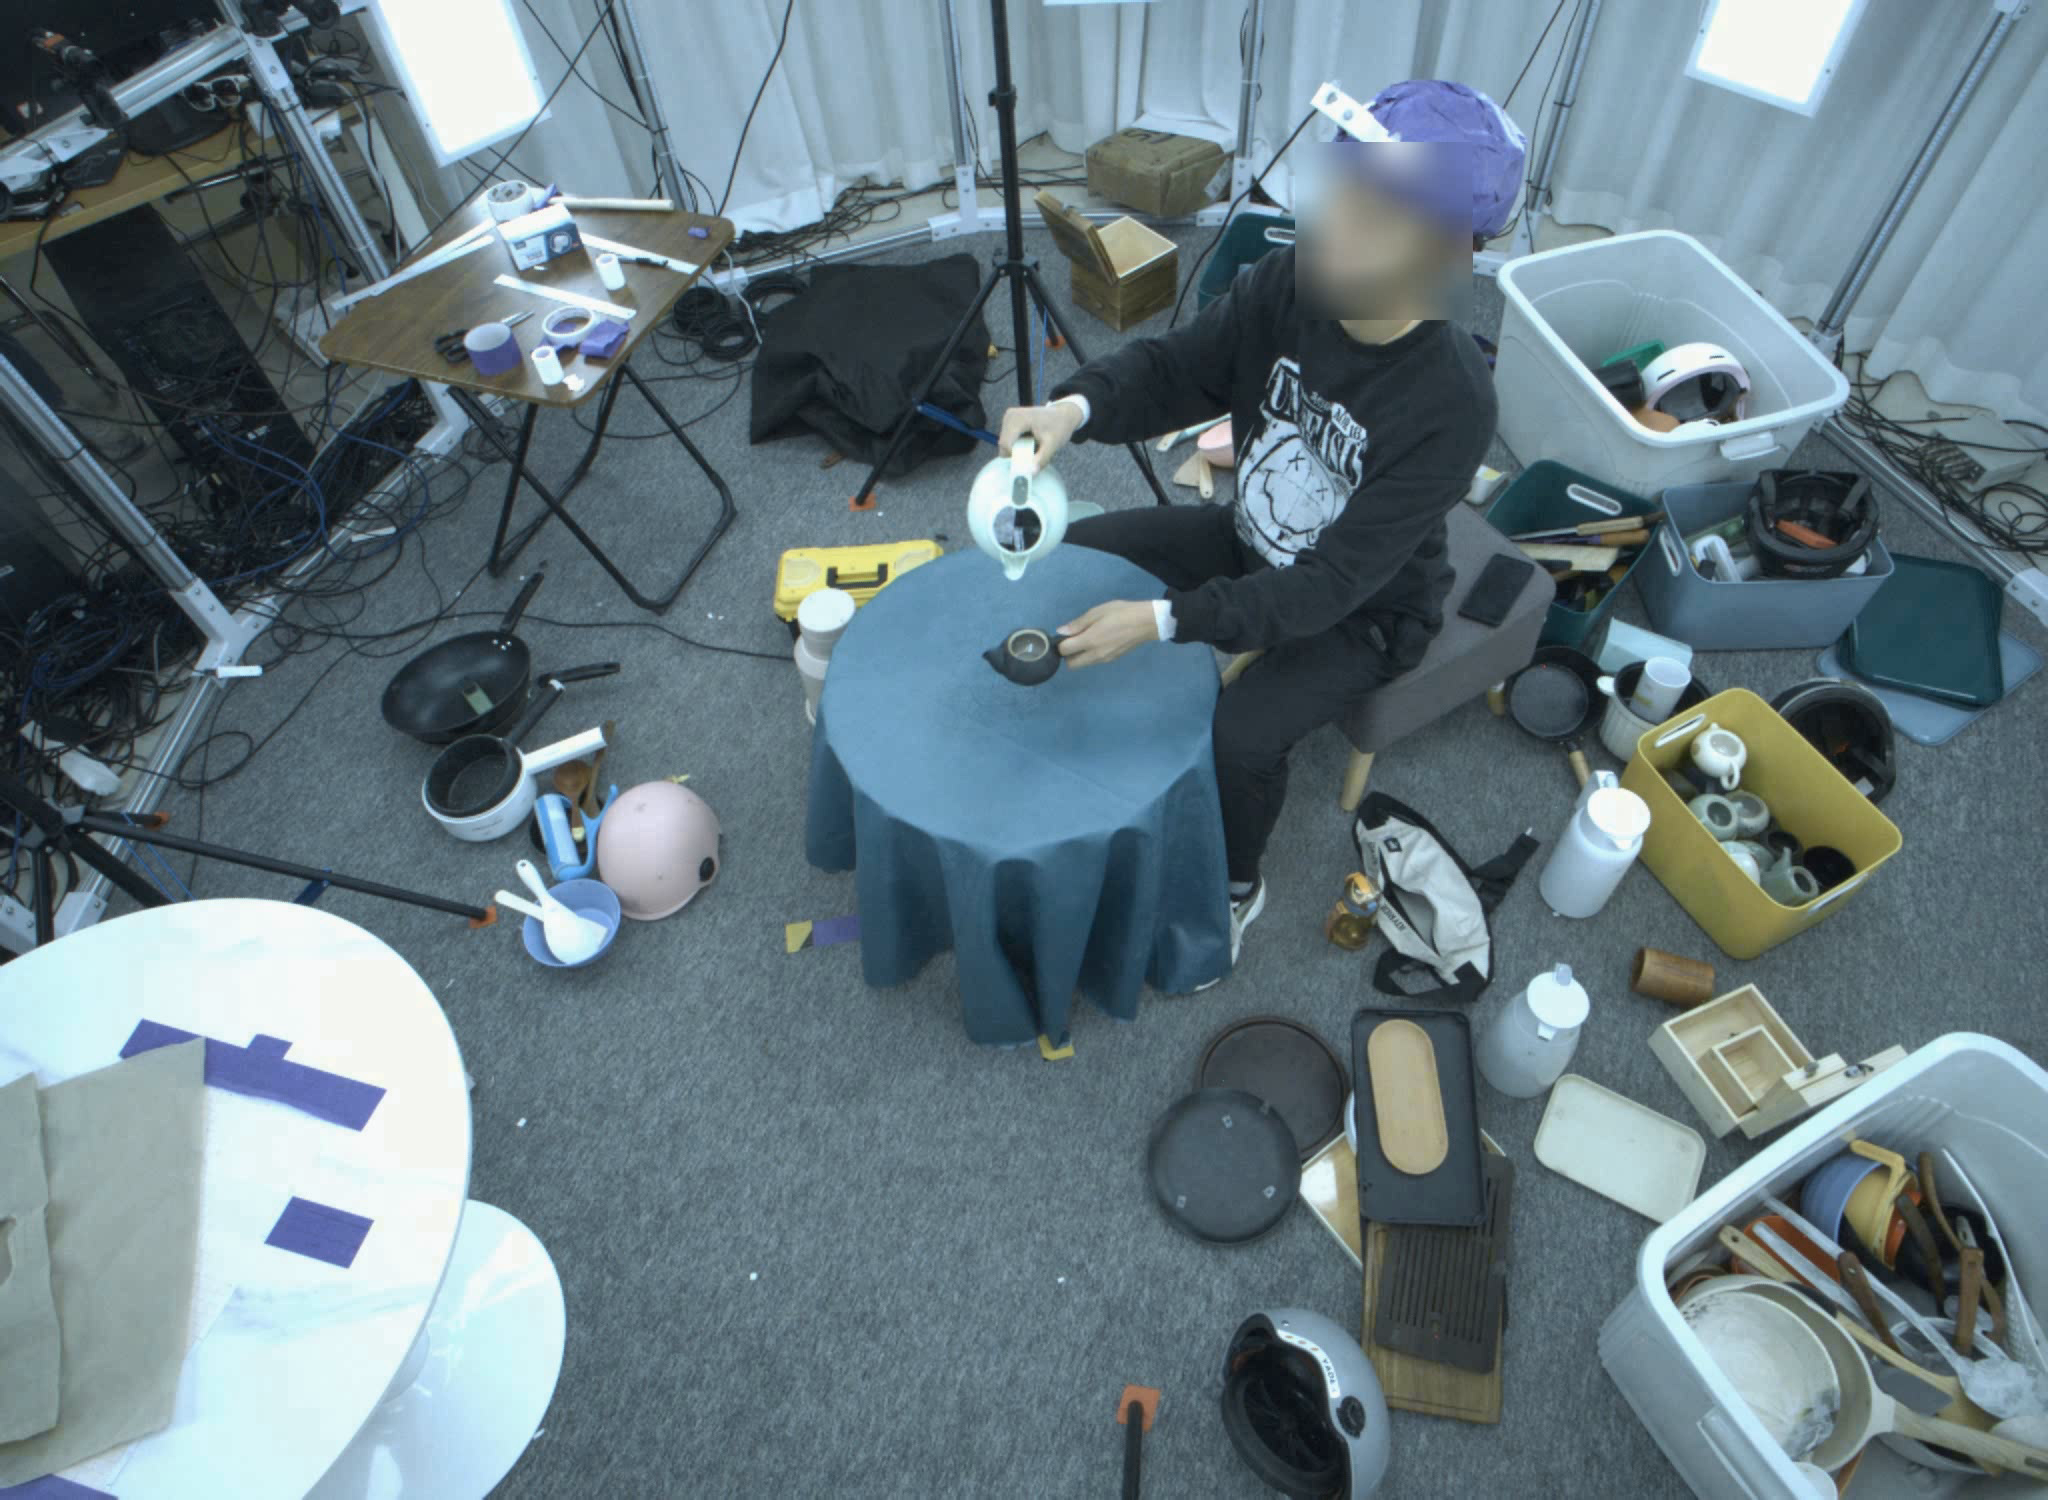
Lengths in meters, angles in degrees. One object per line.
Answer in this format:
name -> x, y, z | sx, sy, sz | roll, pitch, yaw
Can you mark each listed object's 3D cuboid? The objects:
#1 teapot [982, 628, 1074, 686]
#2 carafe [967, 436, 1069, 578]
teapot -> 0.006, -0.132, 1.720 | 0.134, 0.053, 0.089 | -14, 60, -9
carafe -> -0.009, -0.341, 1.689 | 0.144, 0.187, 0.255 | 4, 15, 0
